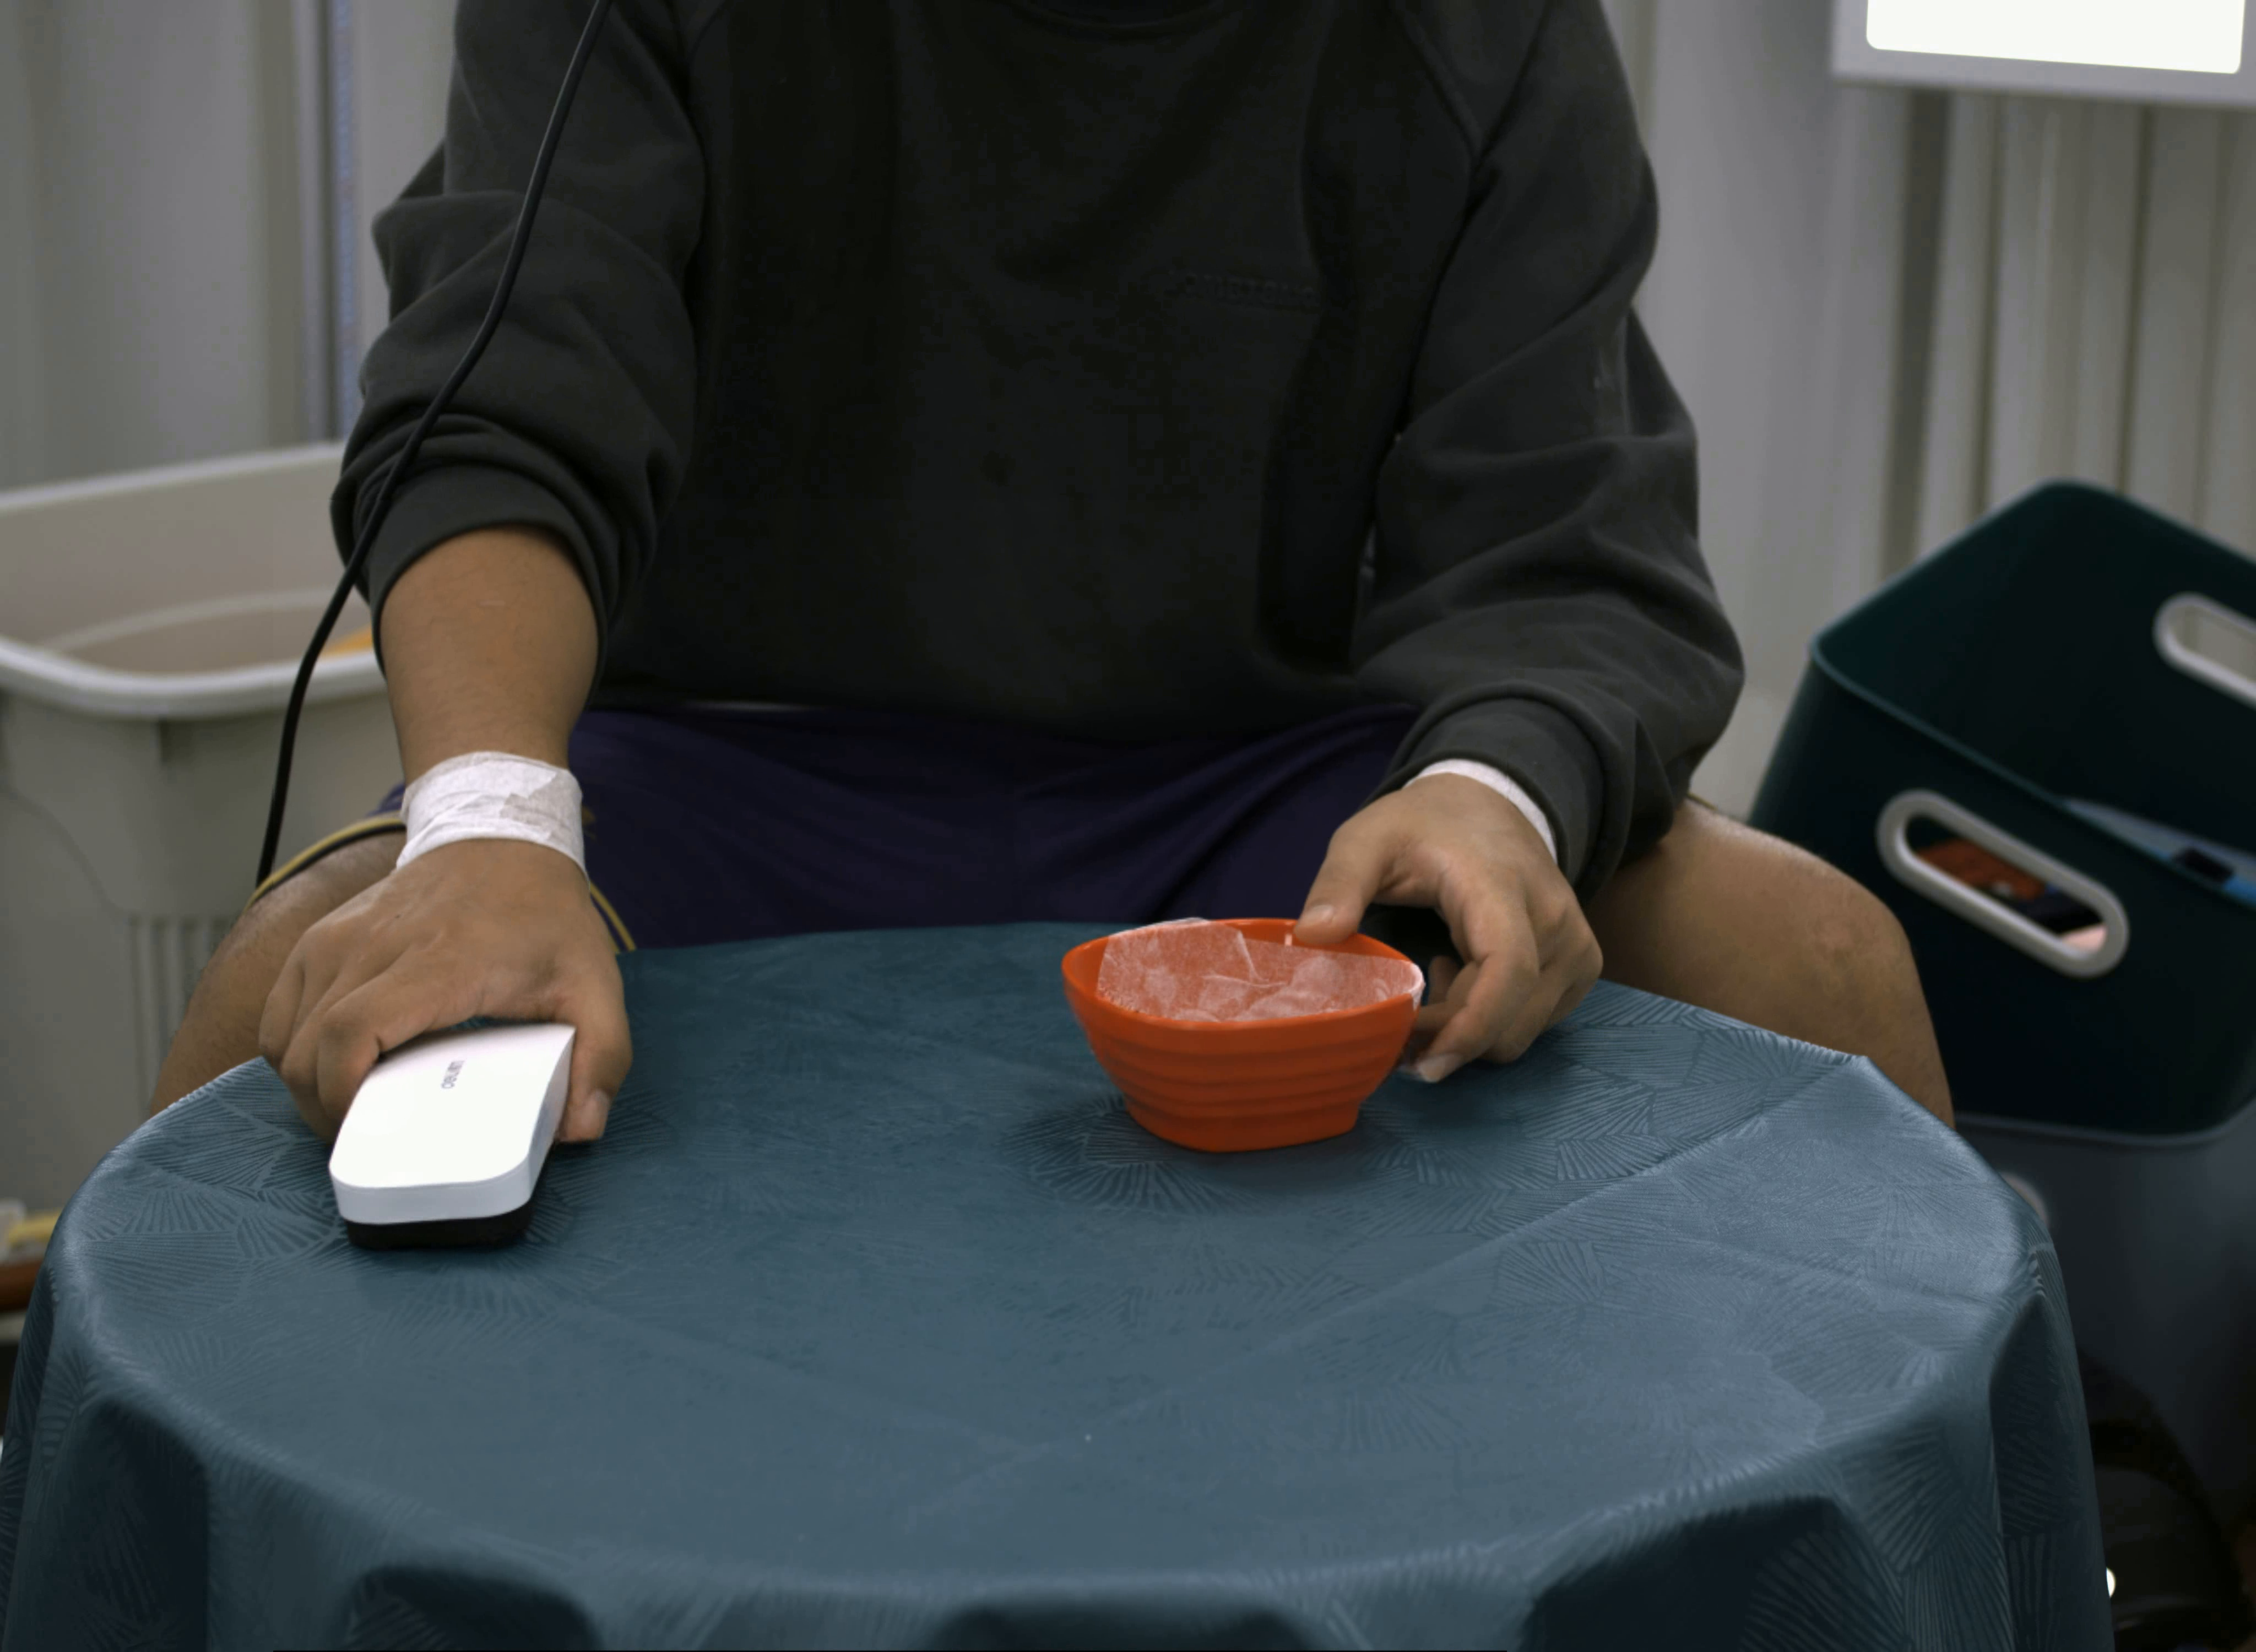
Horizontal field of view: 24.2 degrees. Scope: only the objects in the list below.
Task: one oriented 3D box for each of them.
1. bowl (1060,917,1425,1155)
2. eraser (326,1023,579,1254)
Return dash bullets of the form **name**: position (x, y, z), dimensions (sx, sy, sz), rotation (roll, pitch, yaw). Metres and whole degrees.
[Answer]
- **bowl**: position (0.036, 0.069, 1.685), dimensions (0.118, 0.052, 0.118), rotation (0, 16, 1)
- **eraser**: position (-0.204, 0.091, 1.616), dimensions (0.063, 0.035, 0.130), rotation (0, 20, 4)
